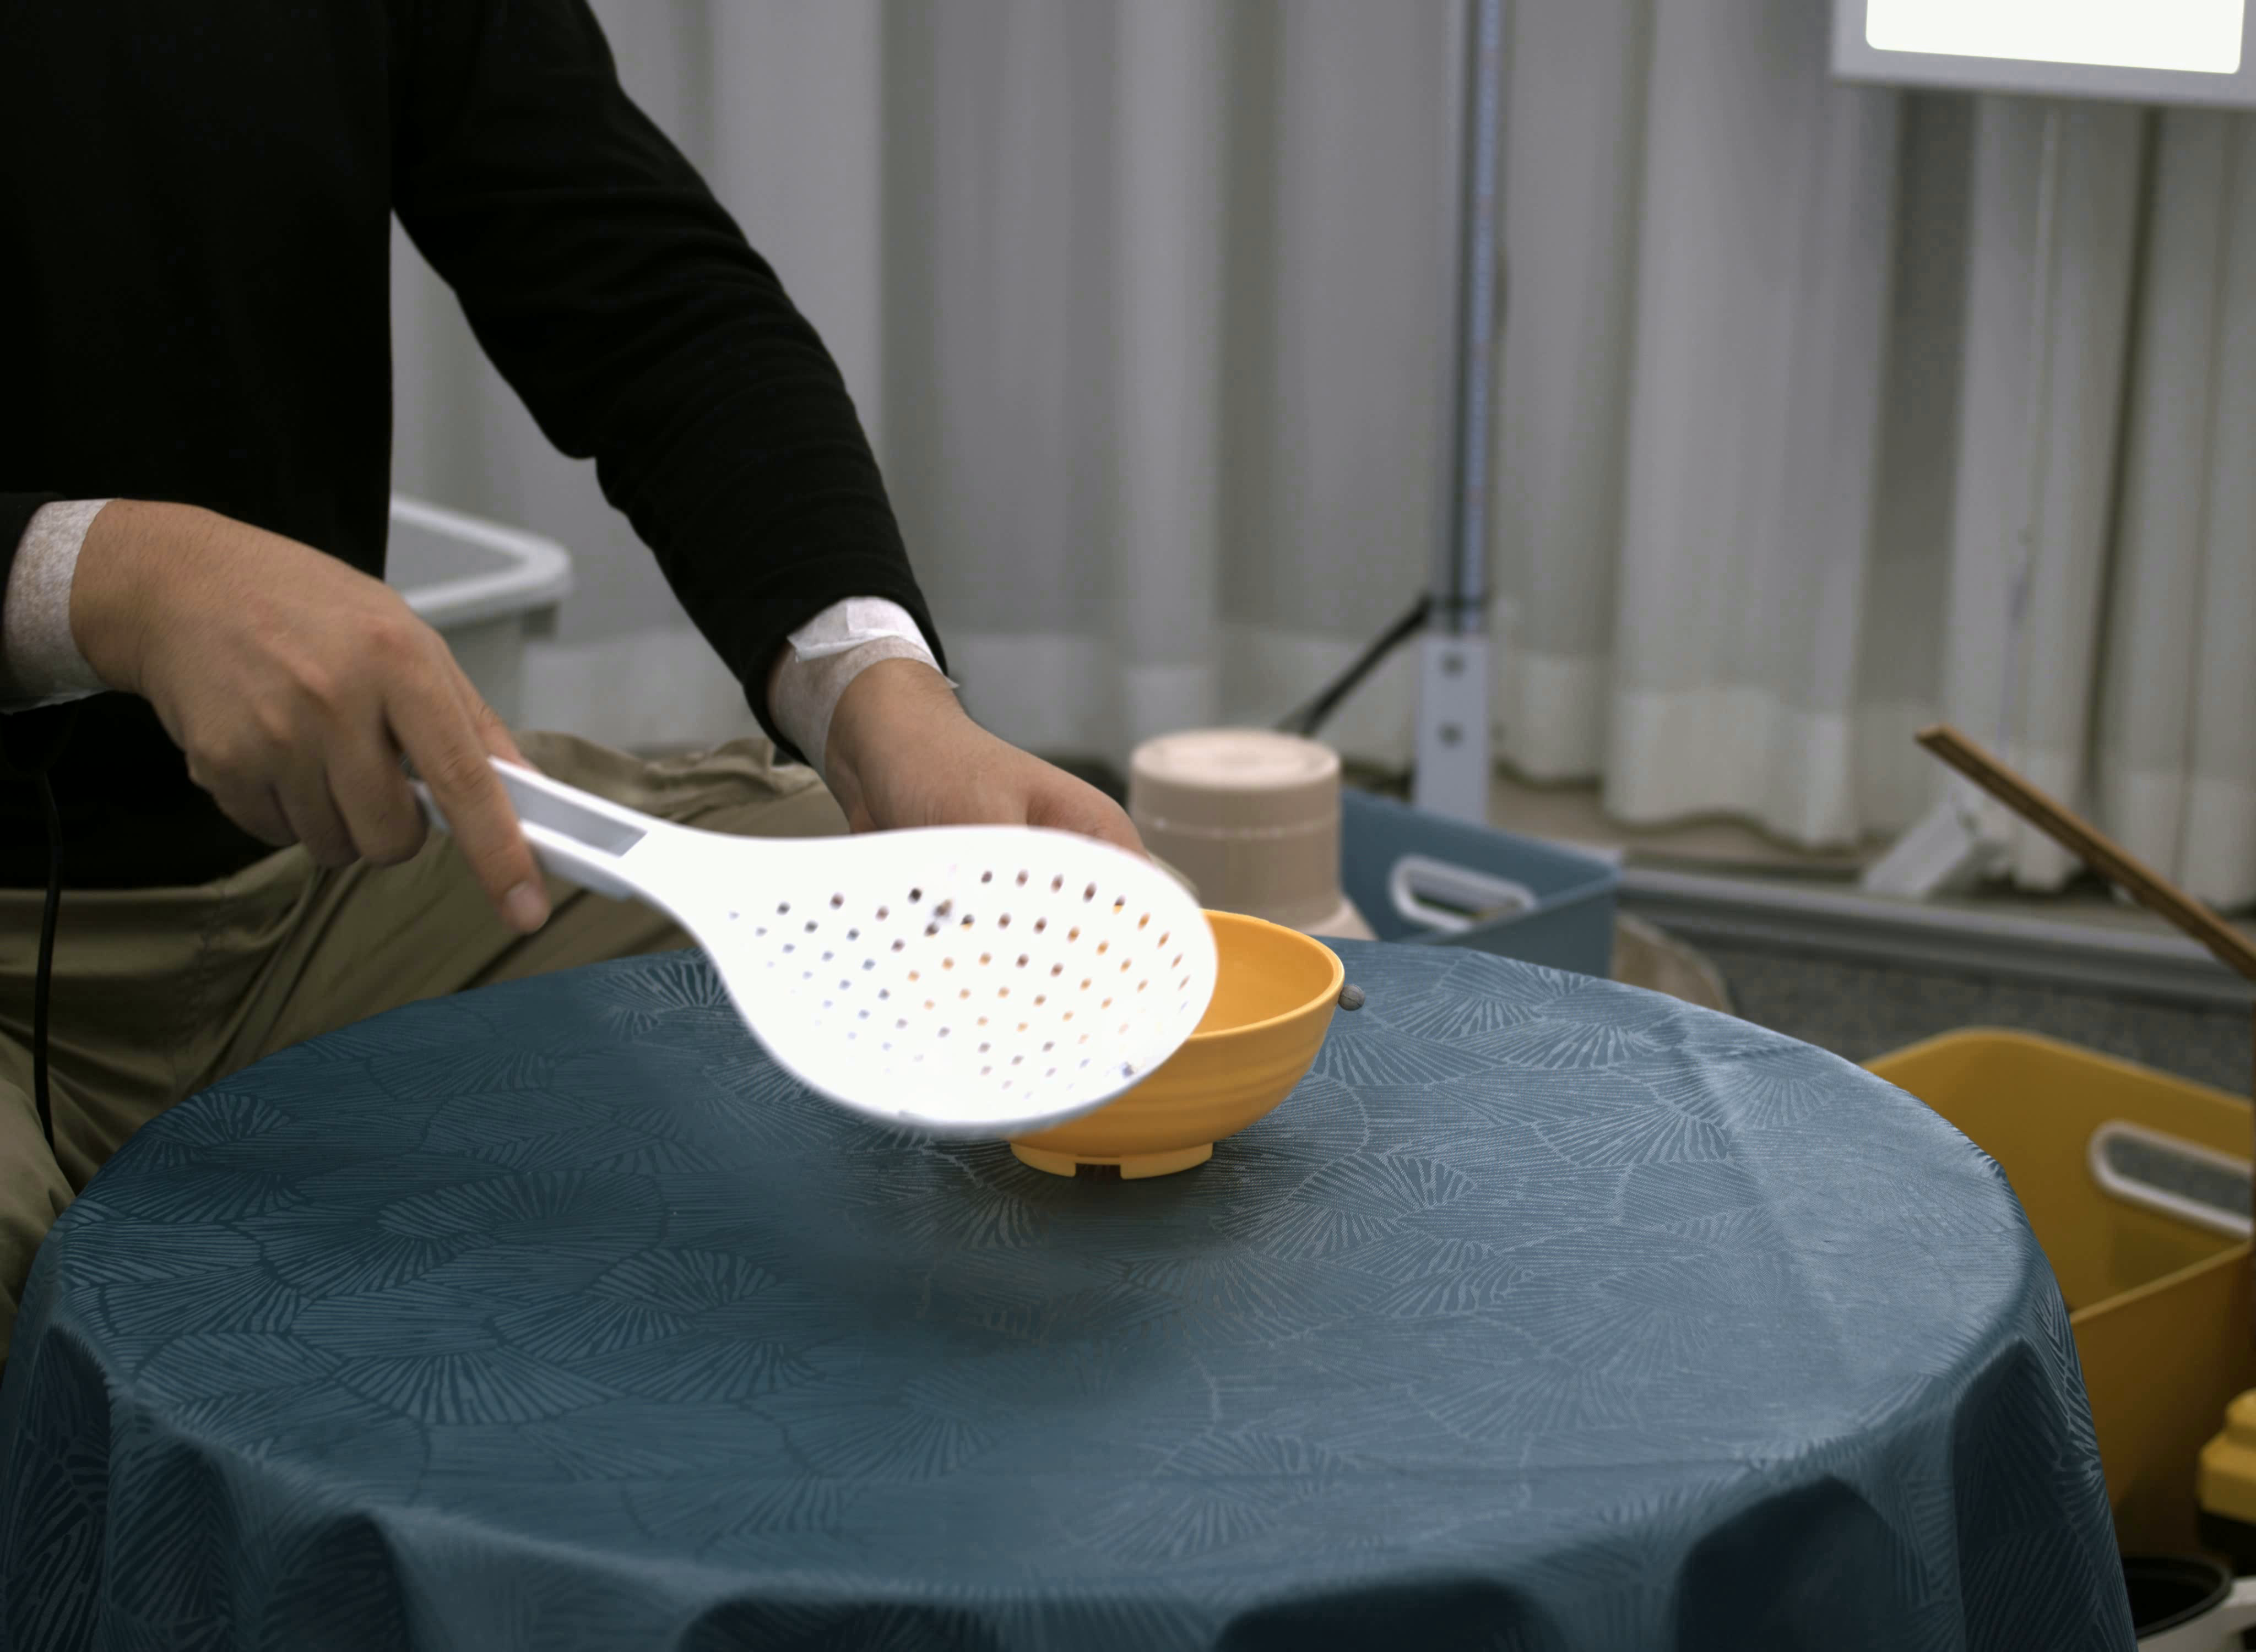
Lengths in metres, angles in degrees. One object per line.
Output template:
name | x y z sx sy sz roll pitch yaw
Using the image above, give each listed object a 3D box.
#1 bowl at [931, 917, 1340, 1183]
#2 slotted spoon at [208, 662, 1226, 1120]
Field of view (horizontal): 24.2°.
bowl | -0.006 0.074 1.653 0.145 0.060 0.144 1 16 0
slotted spoon | -0.131 0.010 1.567 0.346 0.046 0.136 22 44 21
